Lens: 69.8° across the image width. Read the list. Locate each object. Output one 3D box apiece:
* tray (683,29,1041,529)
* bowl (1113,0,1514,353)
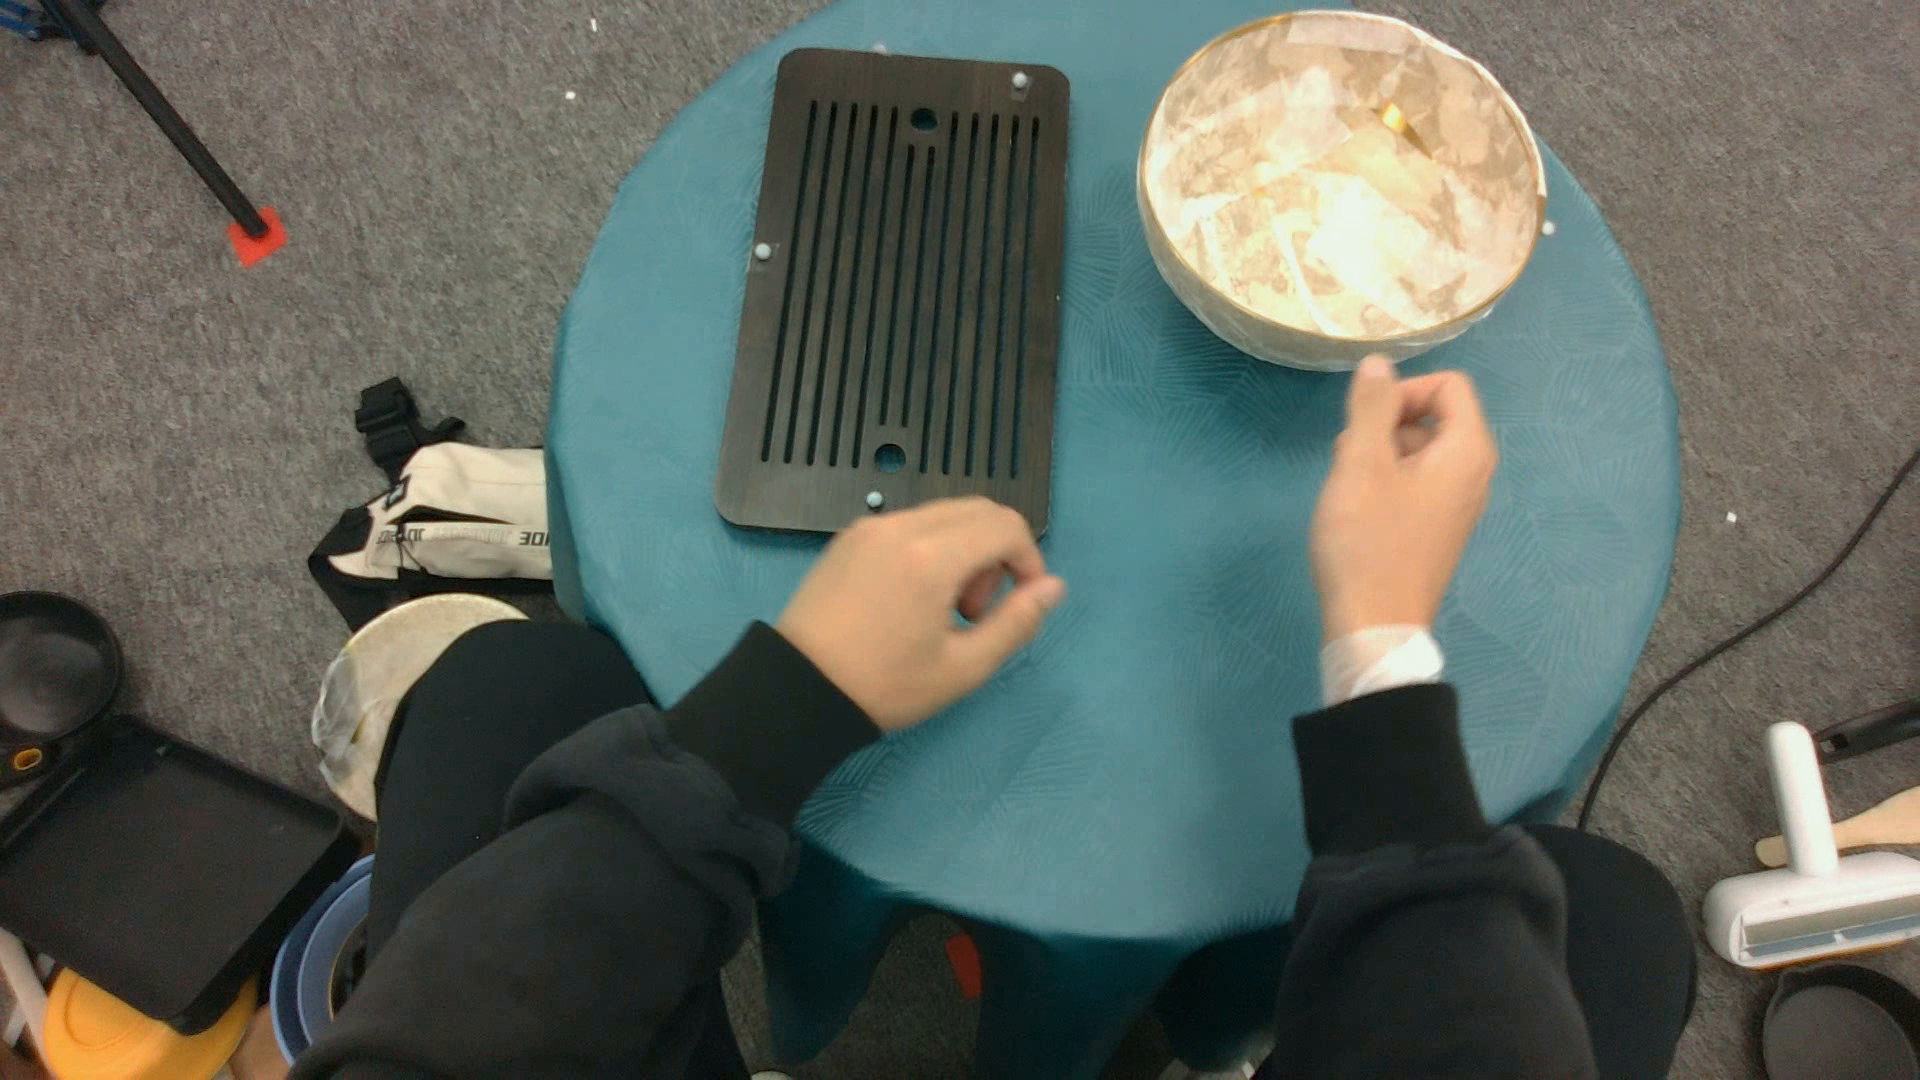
[{"bbox_3d":[-0.046,-0.150,0.747,0.170,0.018,0.307,4,67,-1],"label":"tray"},{"bbox_3d":[0.173,-0.178,0.729,0.215,0.094,0.215,1,68,-3],"label":"bowl"}]
